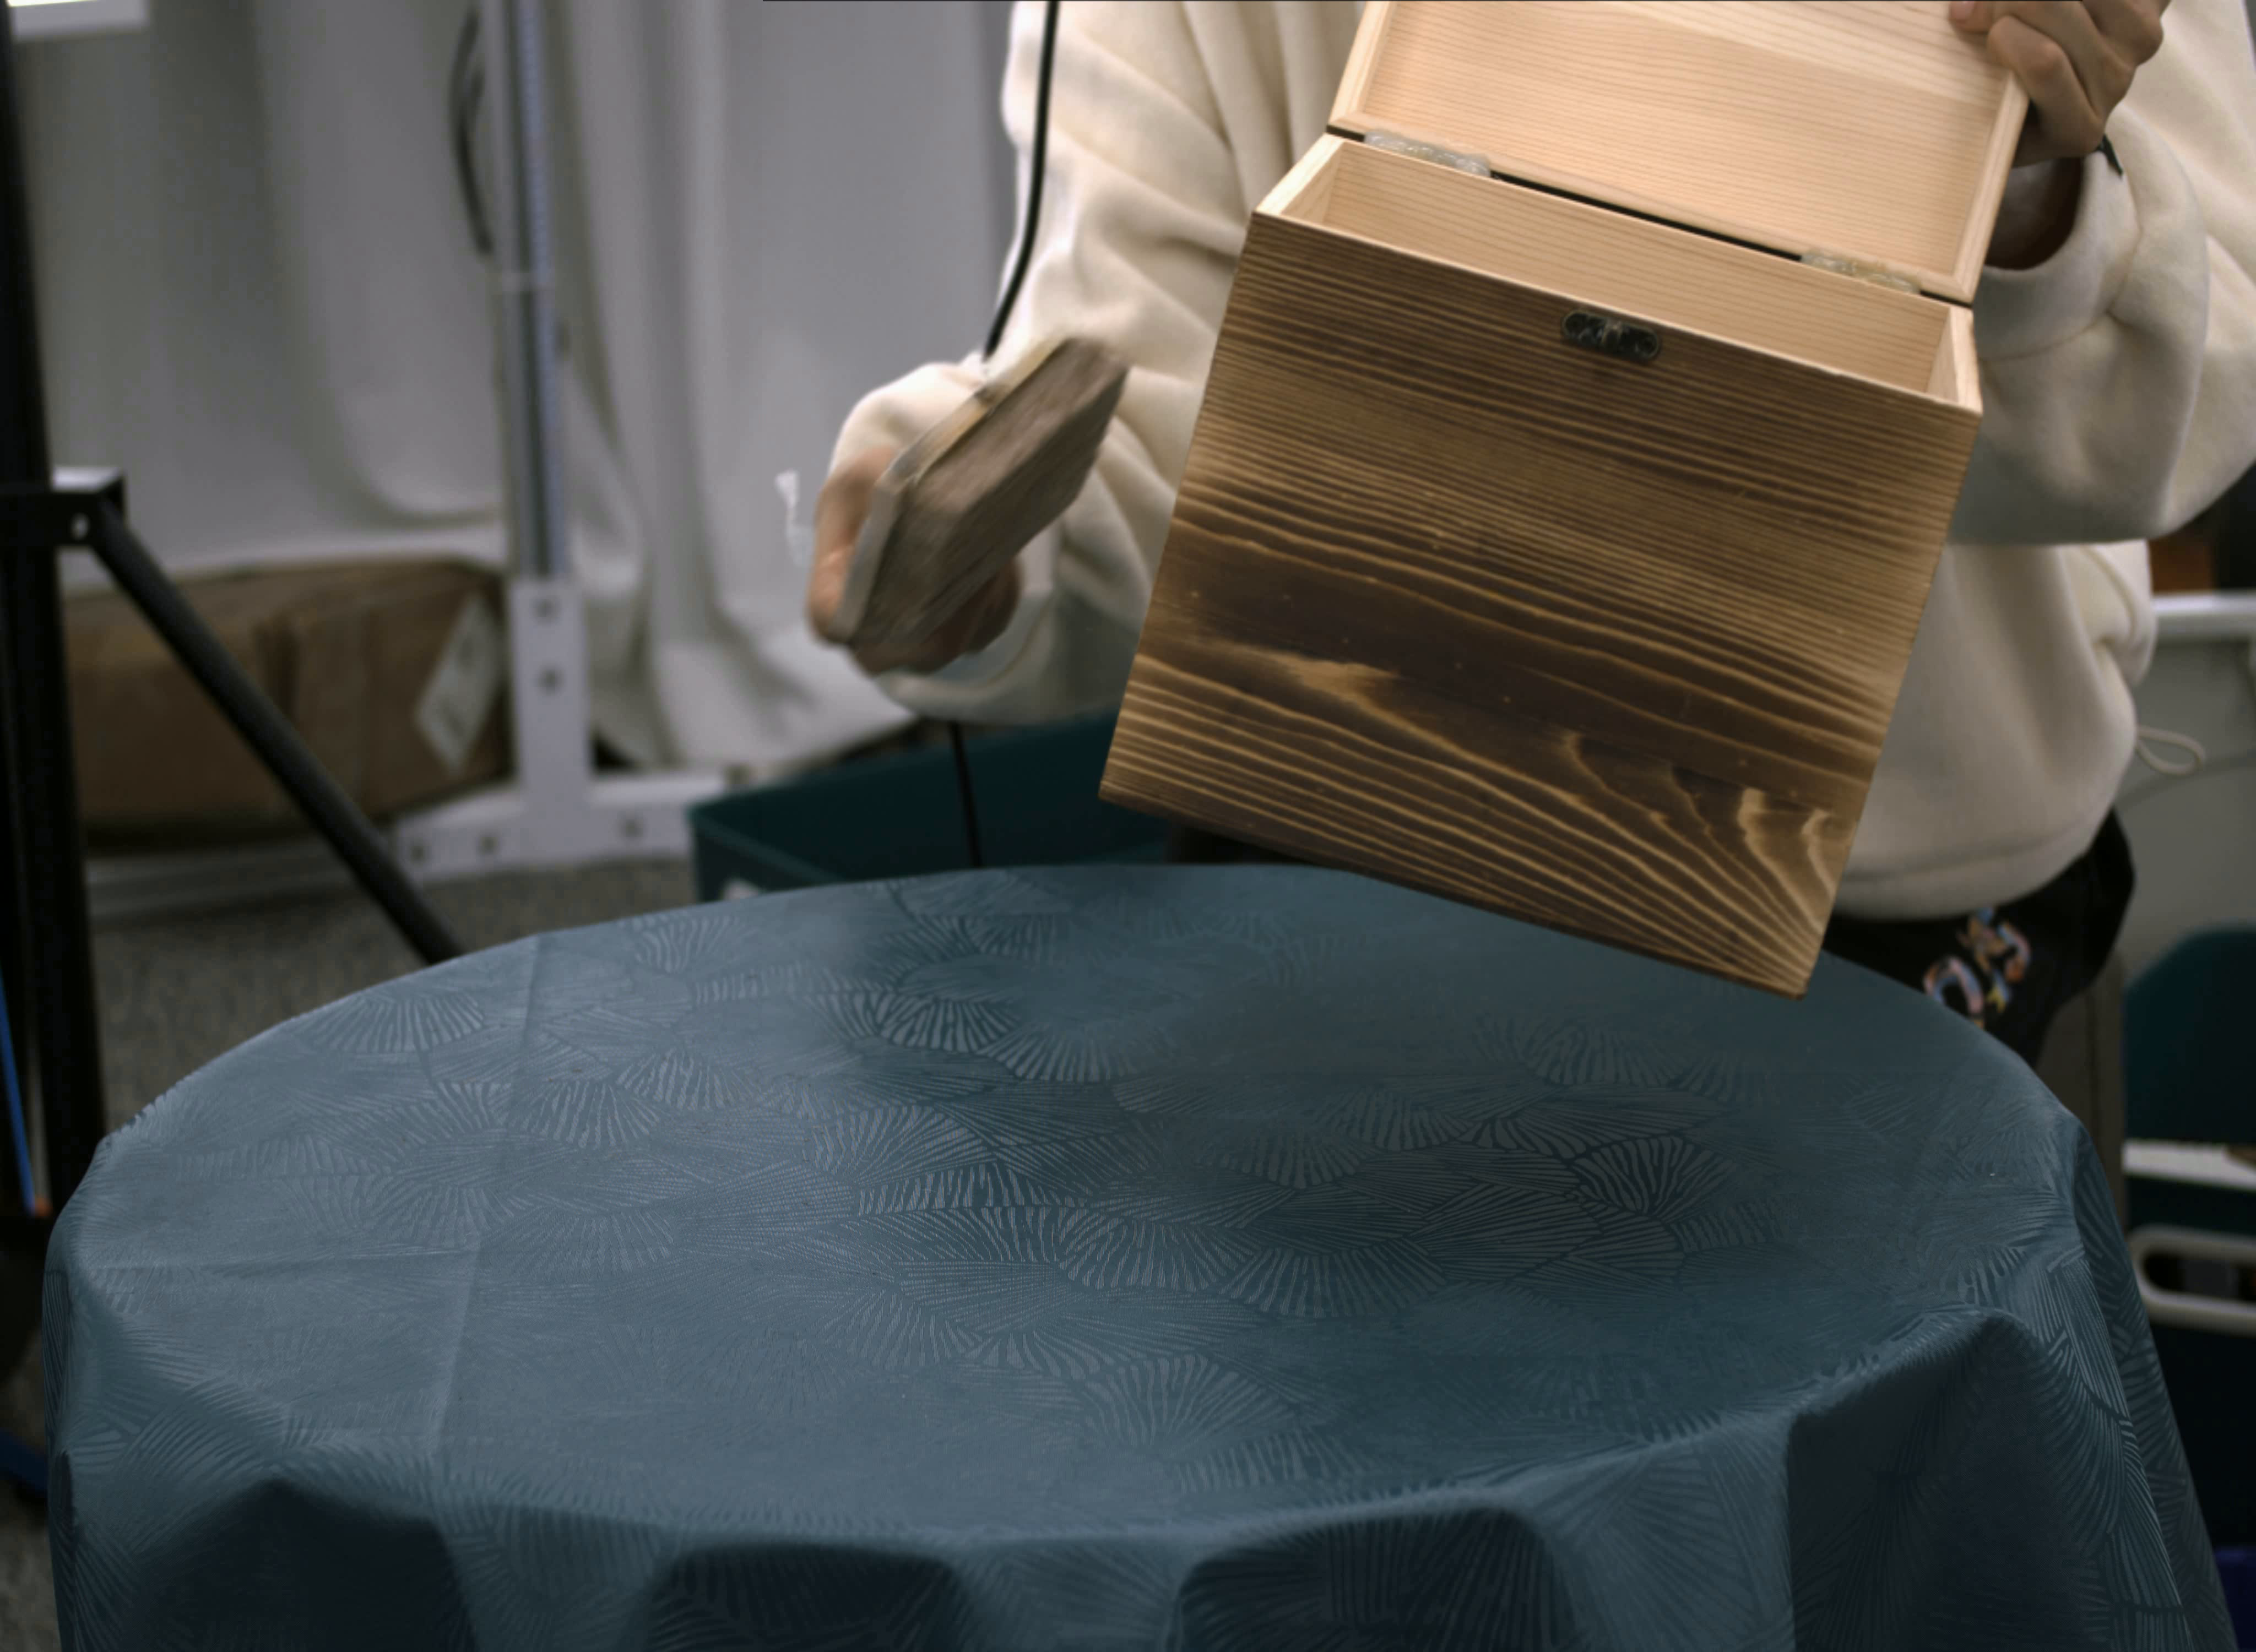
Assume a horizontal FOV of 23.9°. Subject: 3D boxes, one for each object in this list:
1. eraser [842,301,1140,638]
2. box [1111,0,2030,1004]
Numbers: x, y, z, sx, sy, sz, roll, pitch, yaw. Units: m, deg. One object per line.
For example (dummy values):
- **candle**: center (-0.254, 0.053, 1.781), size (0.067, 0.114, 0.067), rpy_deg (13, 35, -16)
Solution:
- **eraser**: center (-0.040, -0.109, 1.652), size (0.029, 0.057, 0.138), rpy_deg (28, 35, 11)
- **box**: center (0.149, -0.183, 1.534), size (0.209, 0.376, 0.321), rpy_deg (15, 15, 4)
